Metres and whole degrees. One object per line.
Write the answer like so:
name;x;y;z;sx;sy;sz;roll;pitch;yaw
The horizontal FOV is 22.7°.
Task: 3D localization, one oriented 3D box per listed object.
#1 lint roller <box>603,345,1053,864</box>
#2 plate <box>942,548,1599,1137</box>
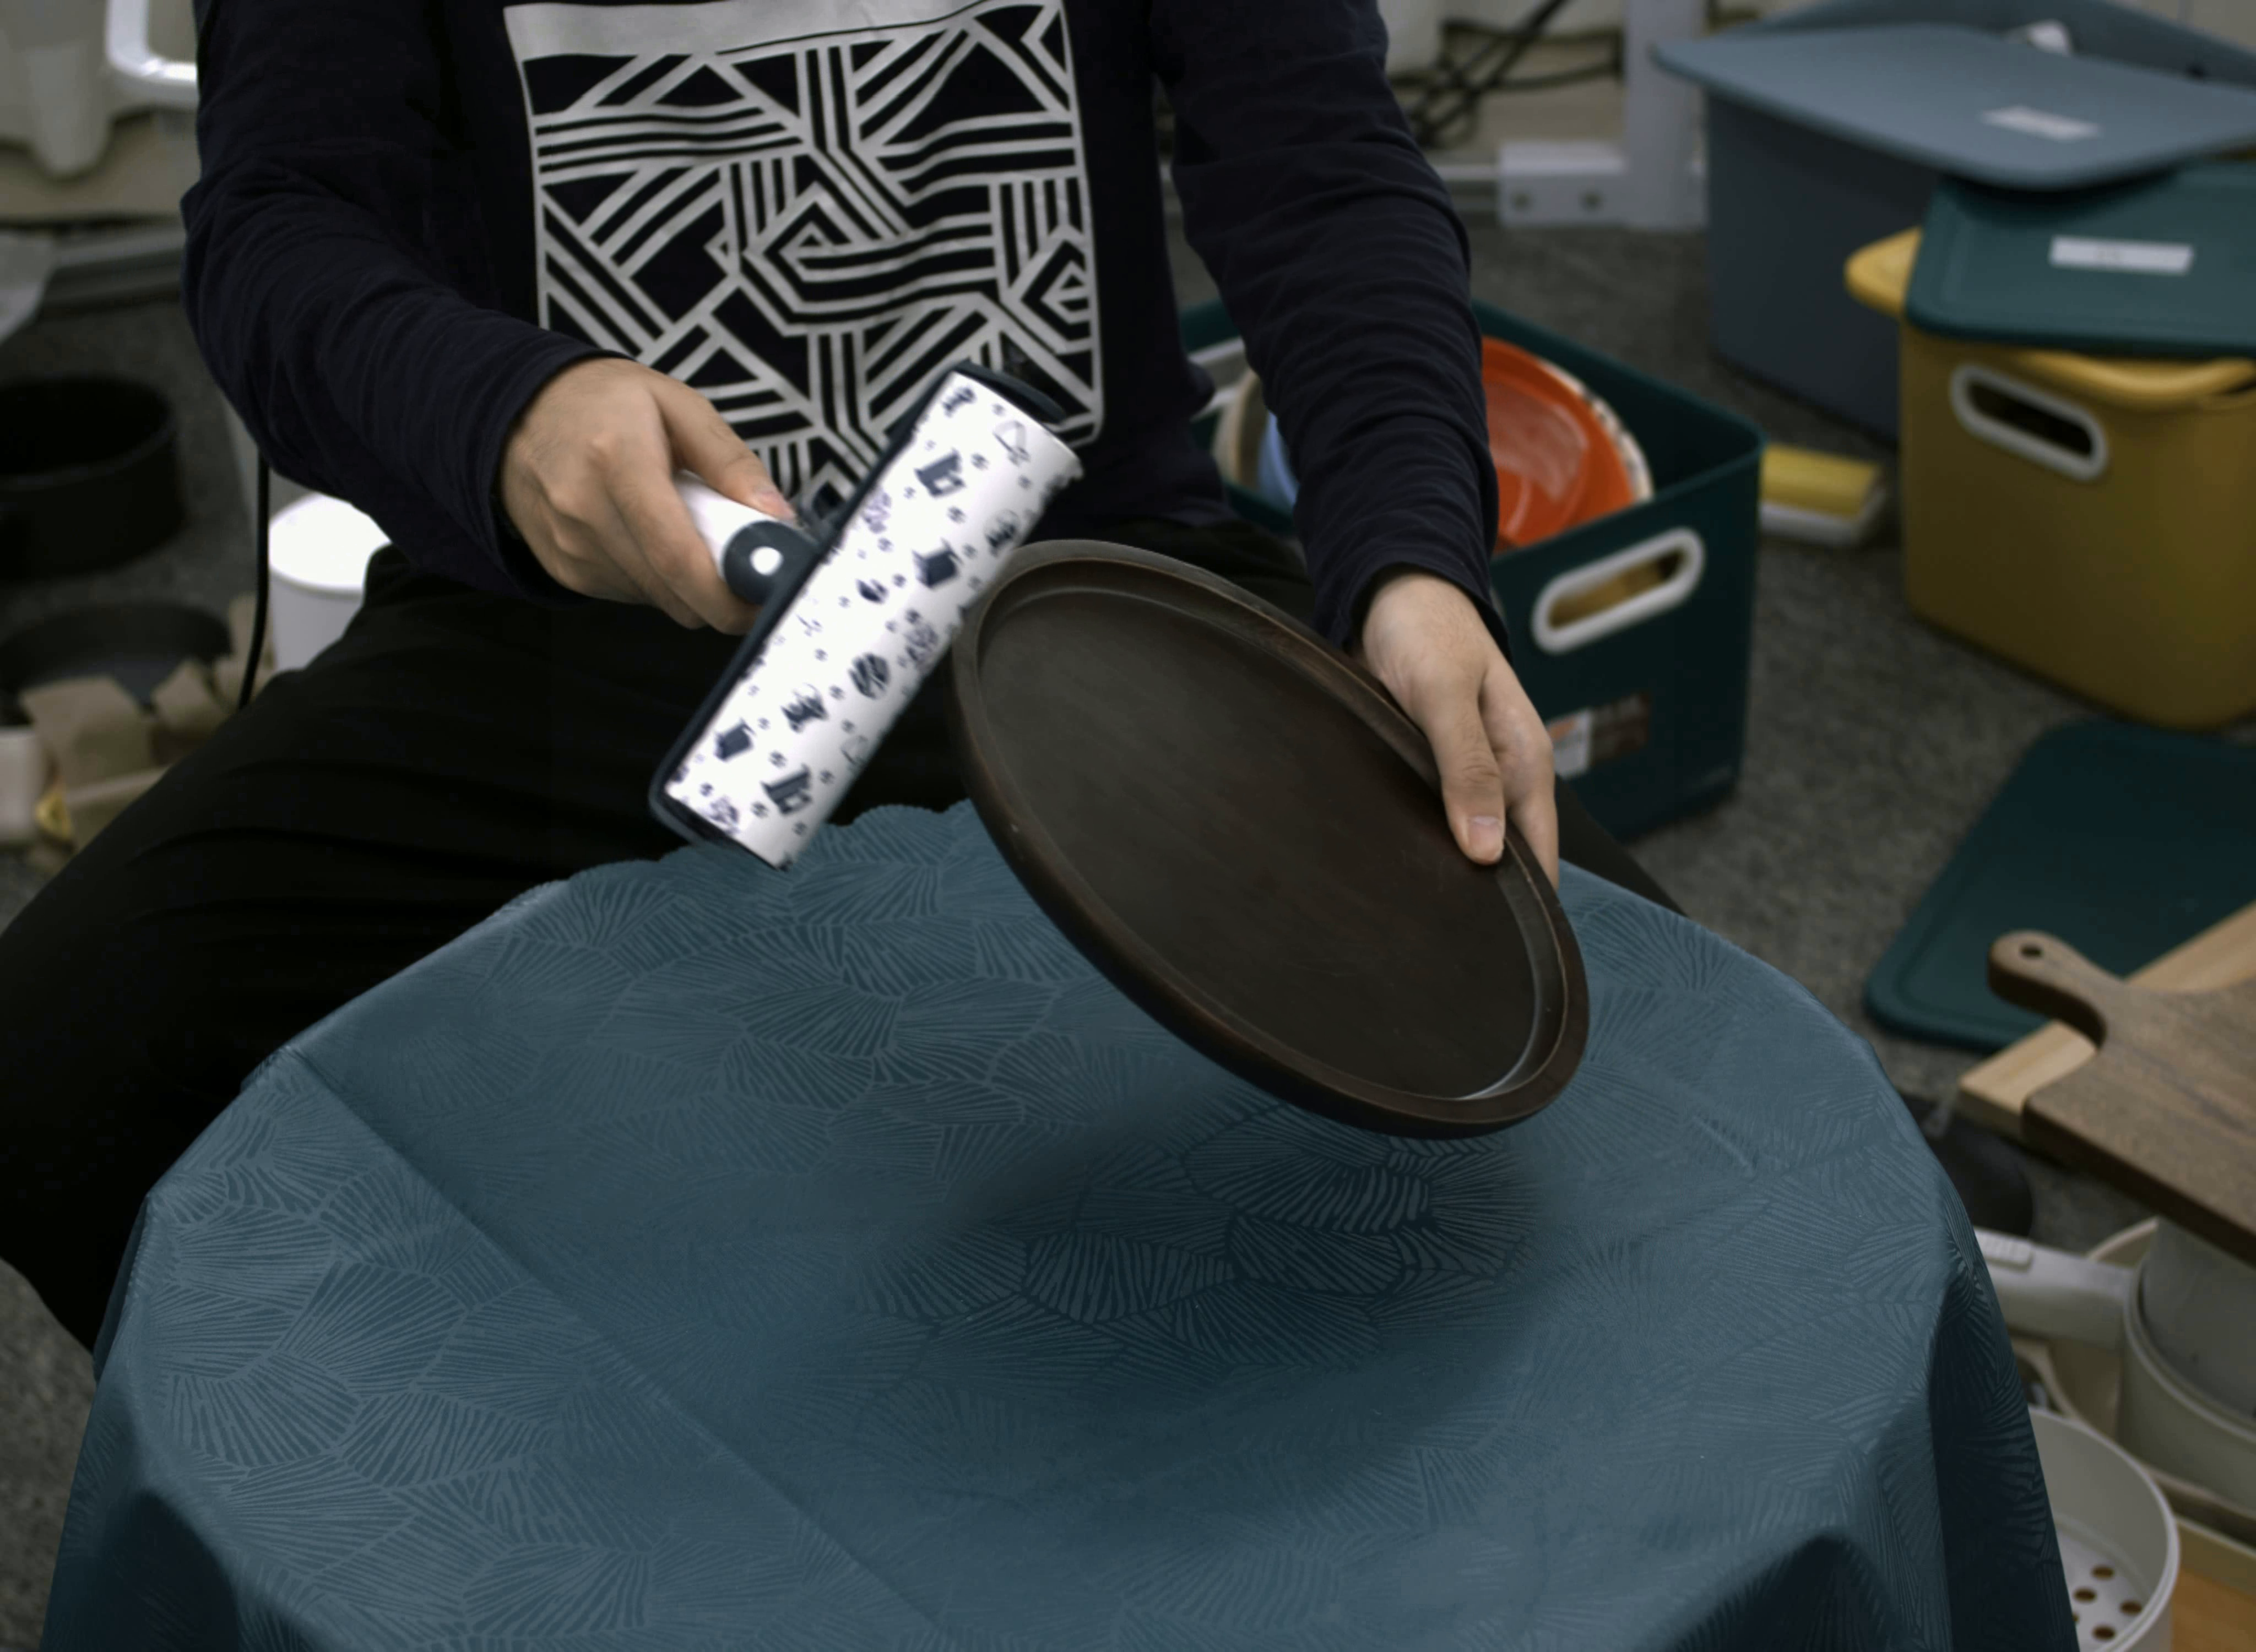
lint roller;-0.128;-0.091;1.839;0.050;0.177;0.247;36;-4;-30
plate;0.045;0.005;1.814;0.254;0.028;0.259;31;28;-18
